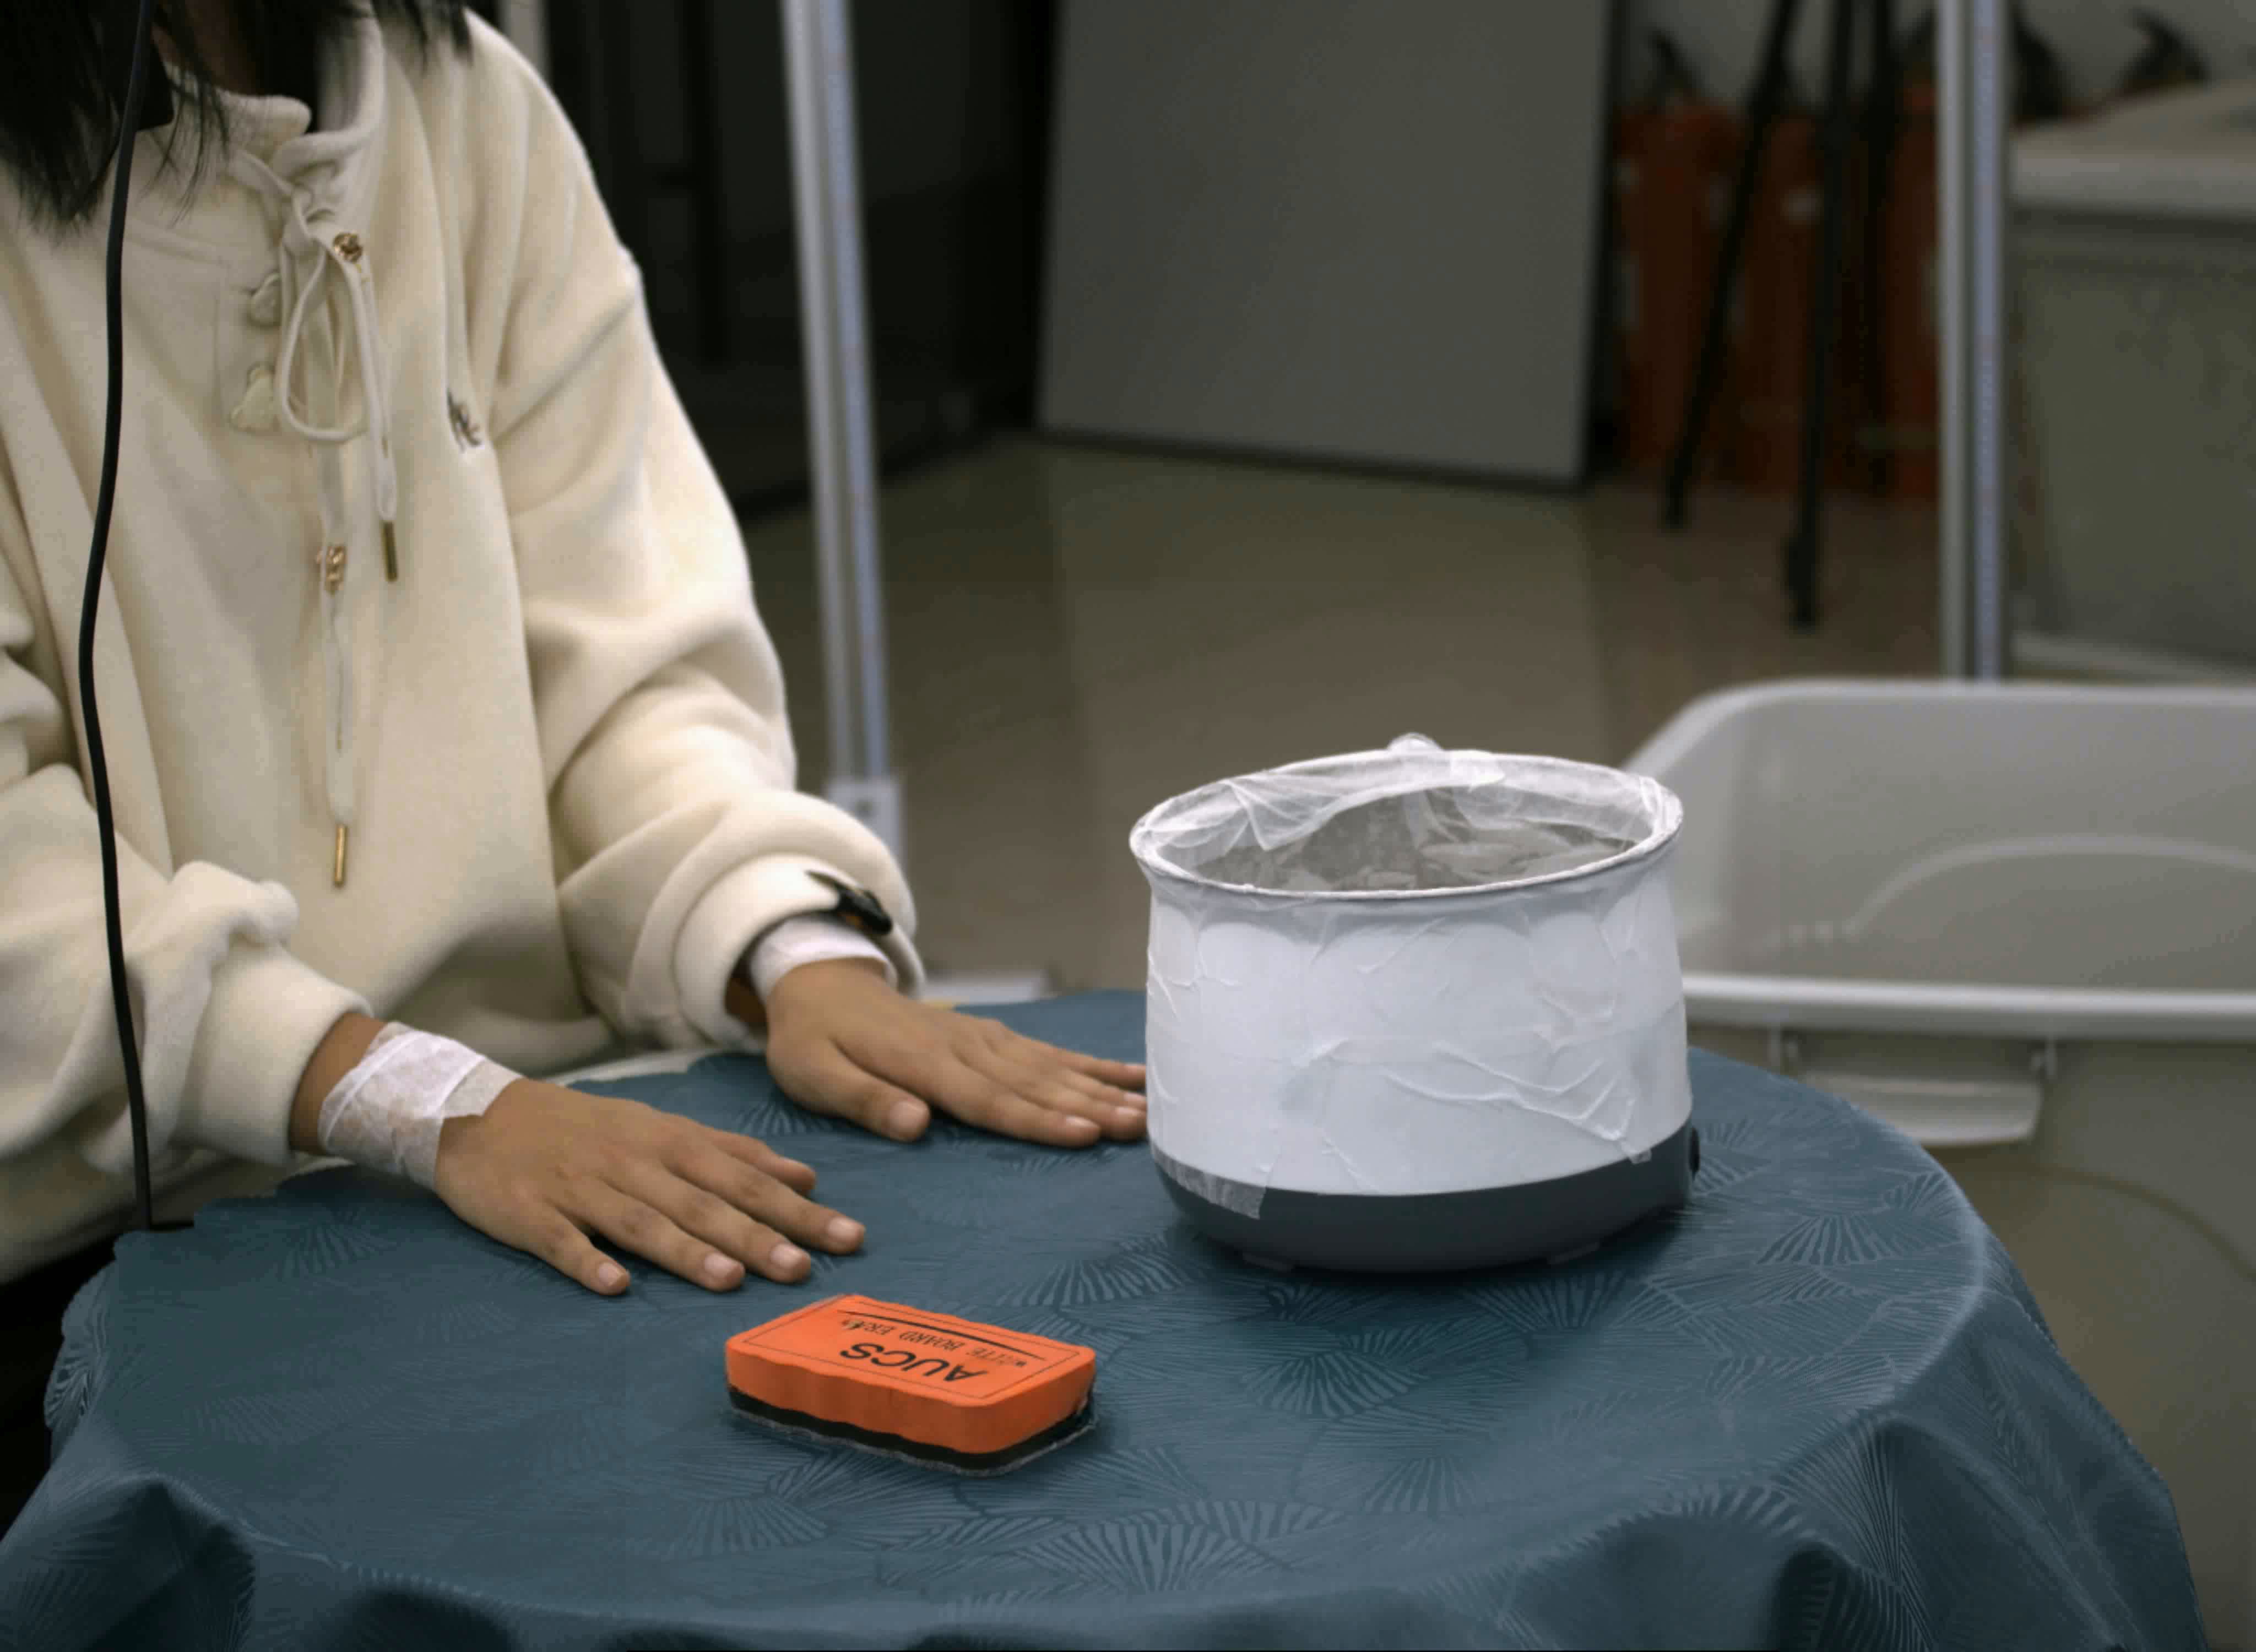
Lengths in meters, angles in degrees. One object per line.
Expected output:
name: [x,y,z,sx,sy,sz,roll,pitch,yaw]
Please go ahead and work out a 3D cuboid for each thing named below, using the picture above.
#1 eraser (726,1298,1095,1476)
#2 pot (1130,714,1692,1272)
eraser: [-0.063,0.162,1.570,0.109,0.023,0.058,8,16,42]
pot: [0.092,0.049,1.736,0.177,0.138,0.233,-1,15,4]
